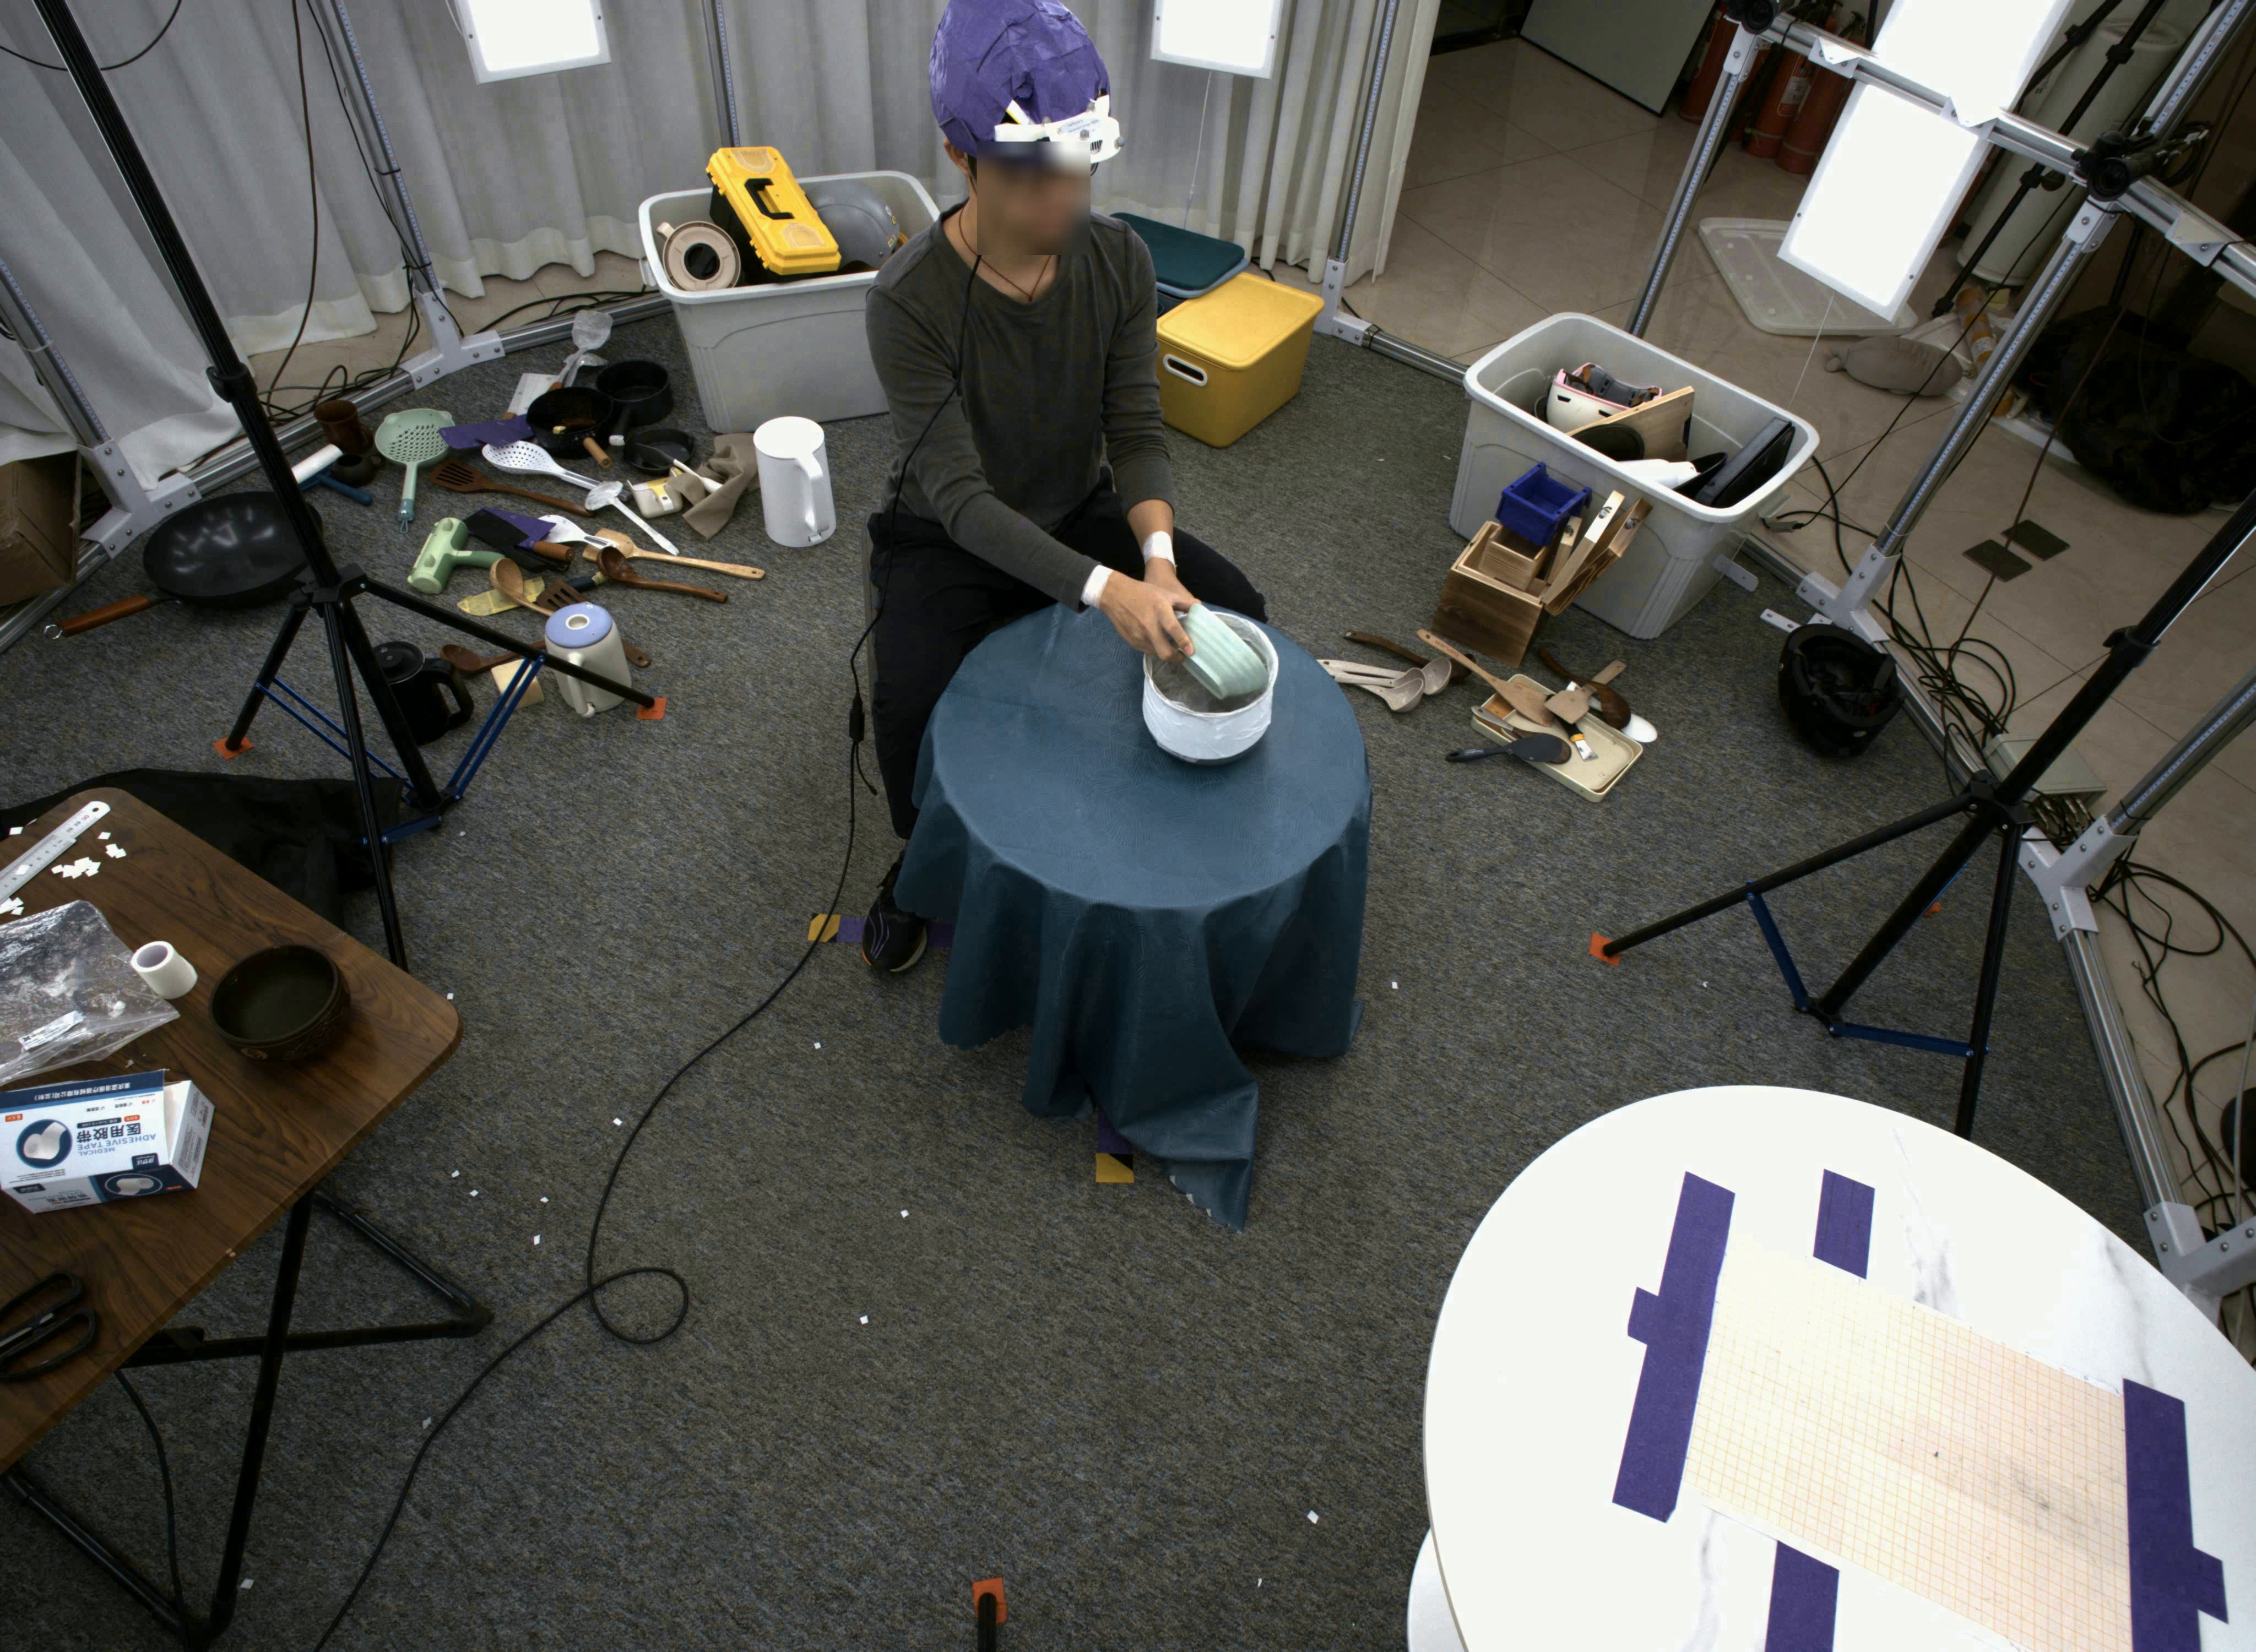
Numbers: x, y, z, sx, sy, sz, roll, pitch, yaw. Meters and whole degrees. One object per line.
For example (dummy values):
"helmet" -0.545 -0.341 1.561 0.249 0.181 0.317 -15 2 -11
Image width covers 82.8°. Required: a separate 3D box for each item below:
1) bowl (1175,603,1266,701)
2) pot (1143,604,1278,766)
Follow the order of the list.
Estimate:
"bowl" 0.110 -0.215 1.661 0.059 0.148 0.154 -43 61 -2
"pot" 0.097 -0.203 1.745 0.179 0.133 0.239 -20 59 -12
